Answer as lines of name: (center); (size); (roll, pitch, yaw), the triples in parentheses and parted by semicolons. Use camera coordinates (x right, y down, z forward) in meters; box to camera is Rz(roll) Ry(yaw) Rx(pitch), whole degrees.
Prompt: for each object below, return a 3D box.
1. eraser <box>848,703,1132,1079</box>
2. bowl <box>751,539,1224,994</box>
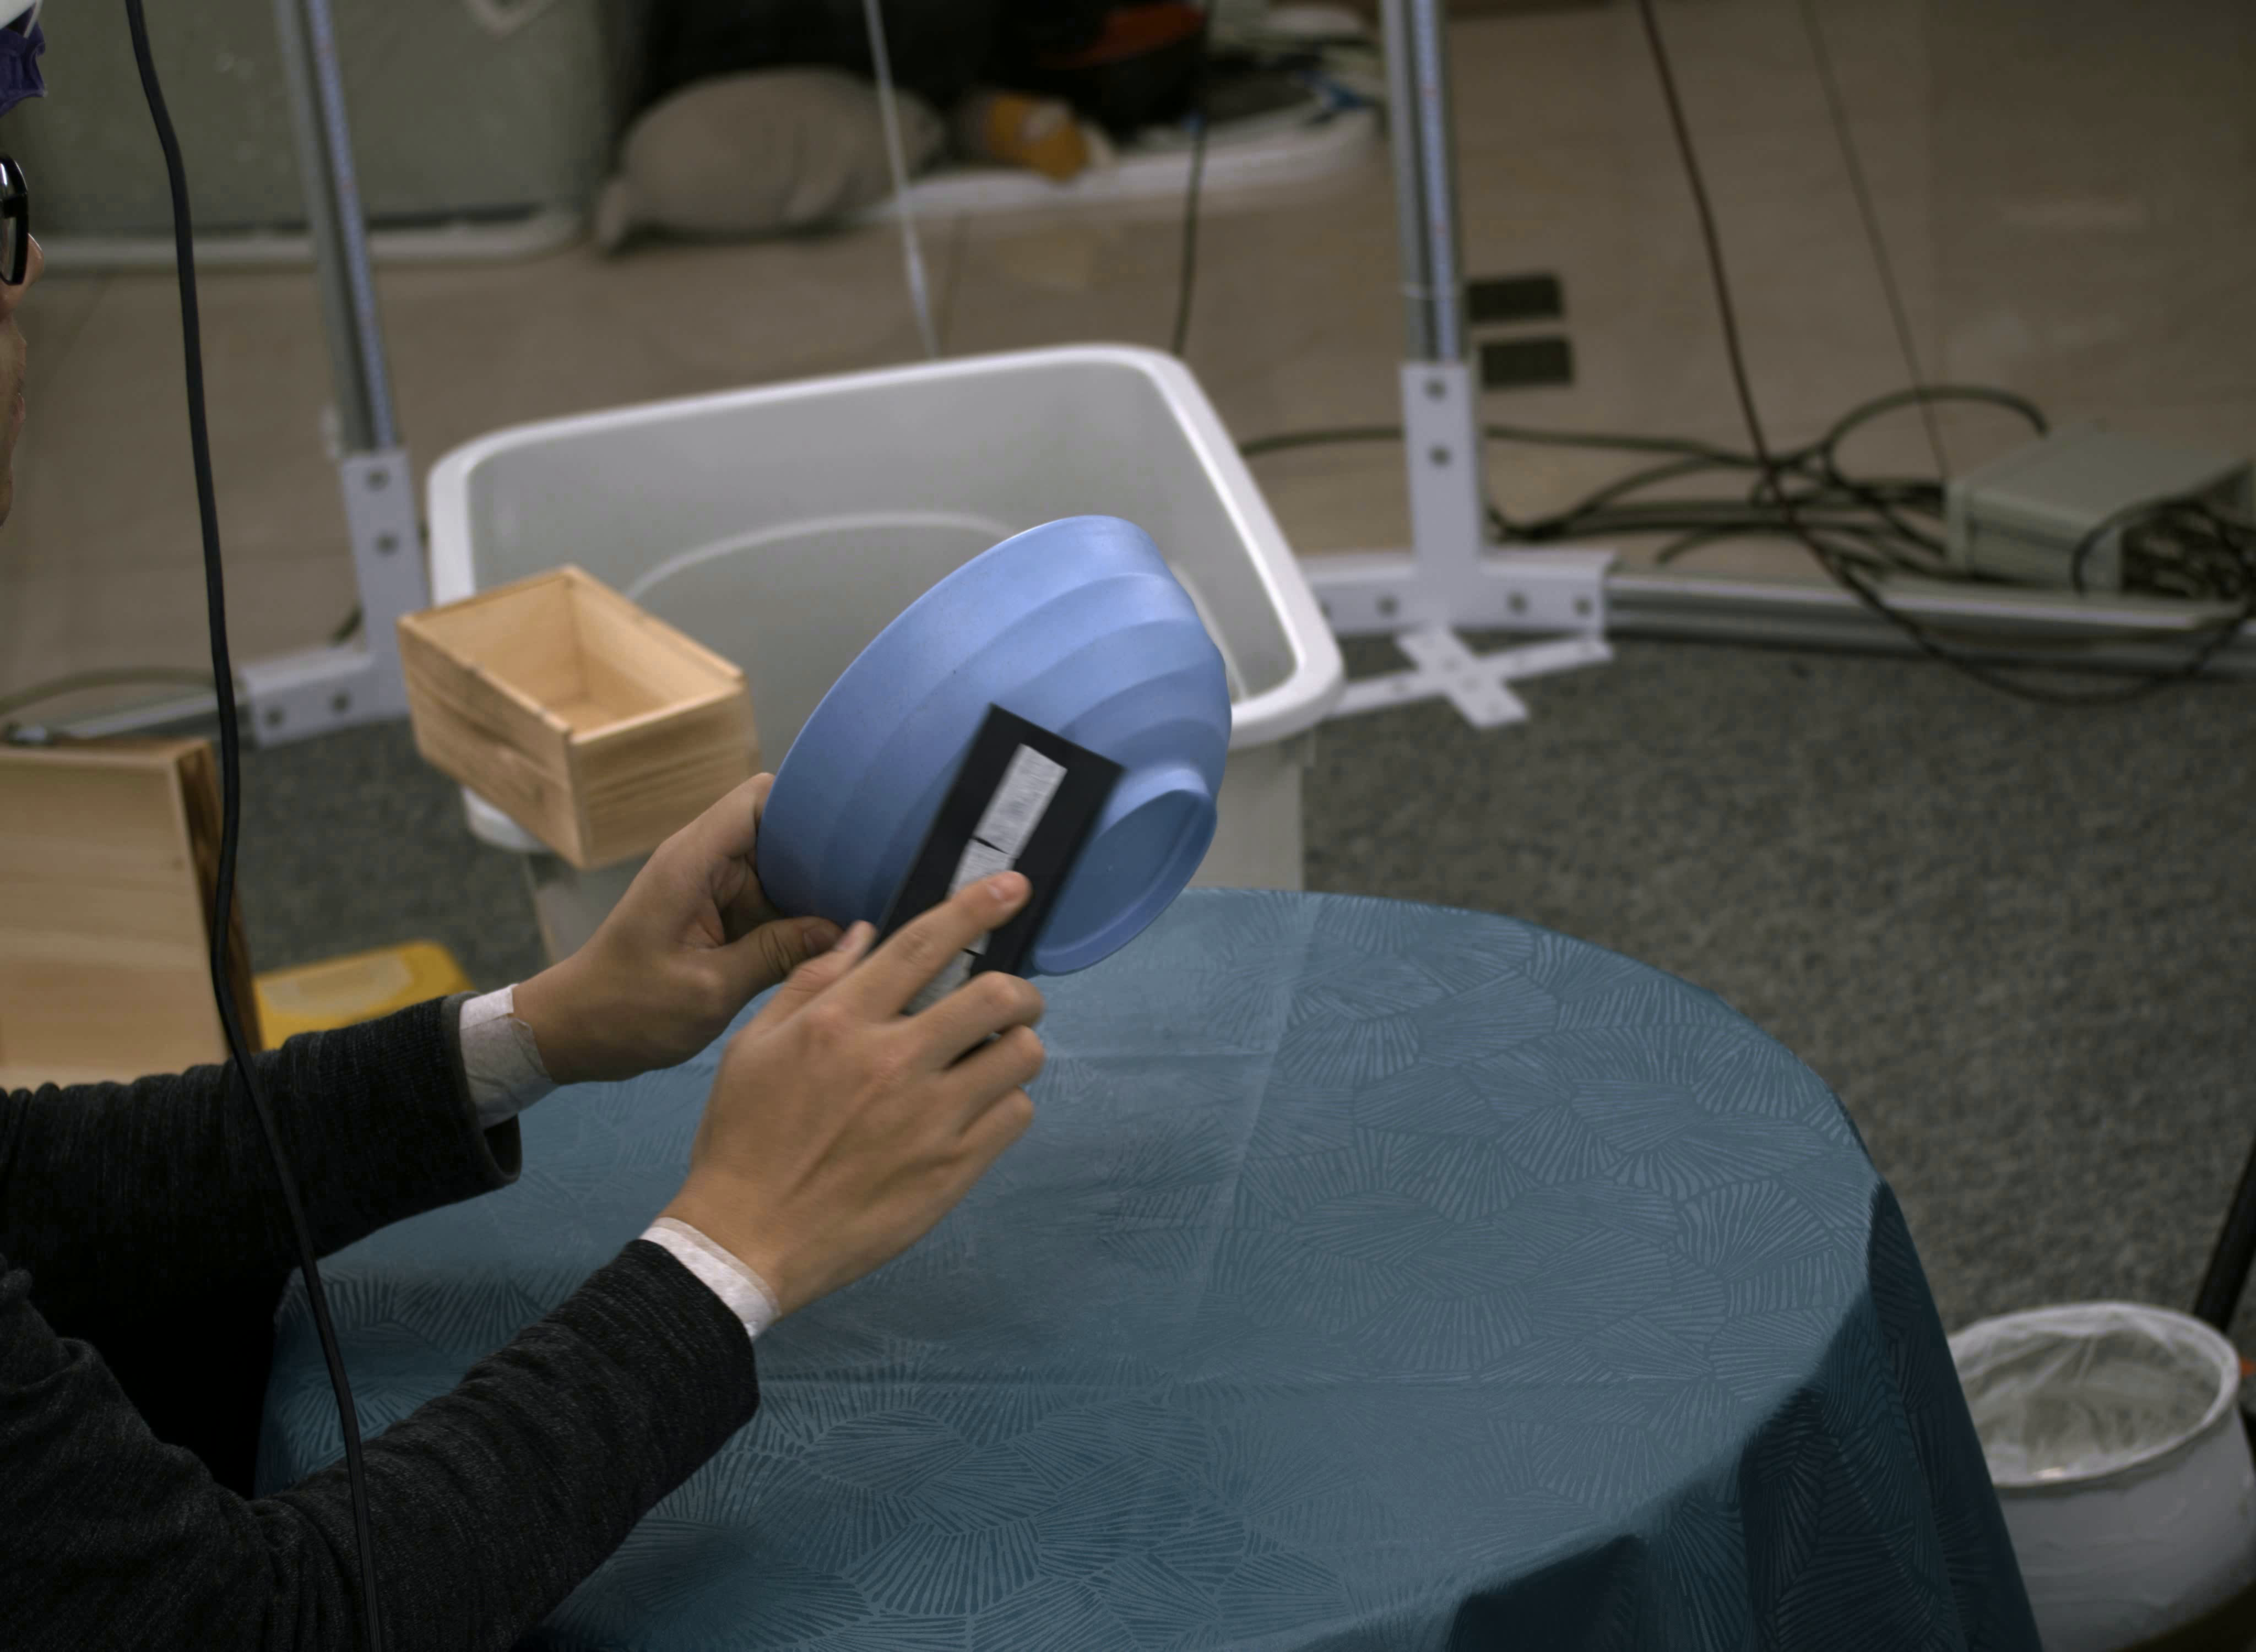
eraser: (-0.048, 0.023, 1.986); (0.053, 0.125, 0.030); (25, -4, 7)
bowl: (-0.034, -0.003, 2.089); (0.195, 0.200, 0.094); (-28, 67, -39)
